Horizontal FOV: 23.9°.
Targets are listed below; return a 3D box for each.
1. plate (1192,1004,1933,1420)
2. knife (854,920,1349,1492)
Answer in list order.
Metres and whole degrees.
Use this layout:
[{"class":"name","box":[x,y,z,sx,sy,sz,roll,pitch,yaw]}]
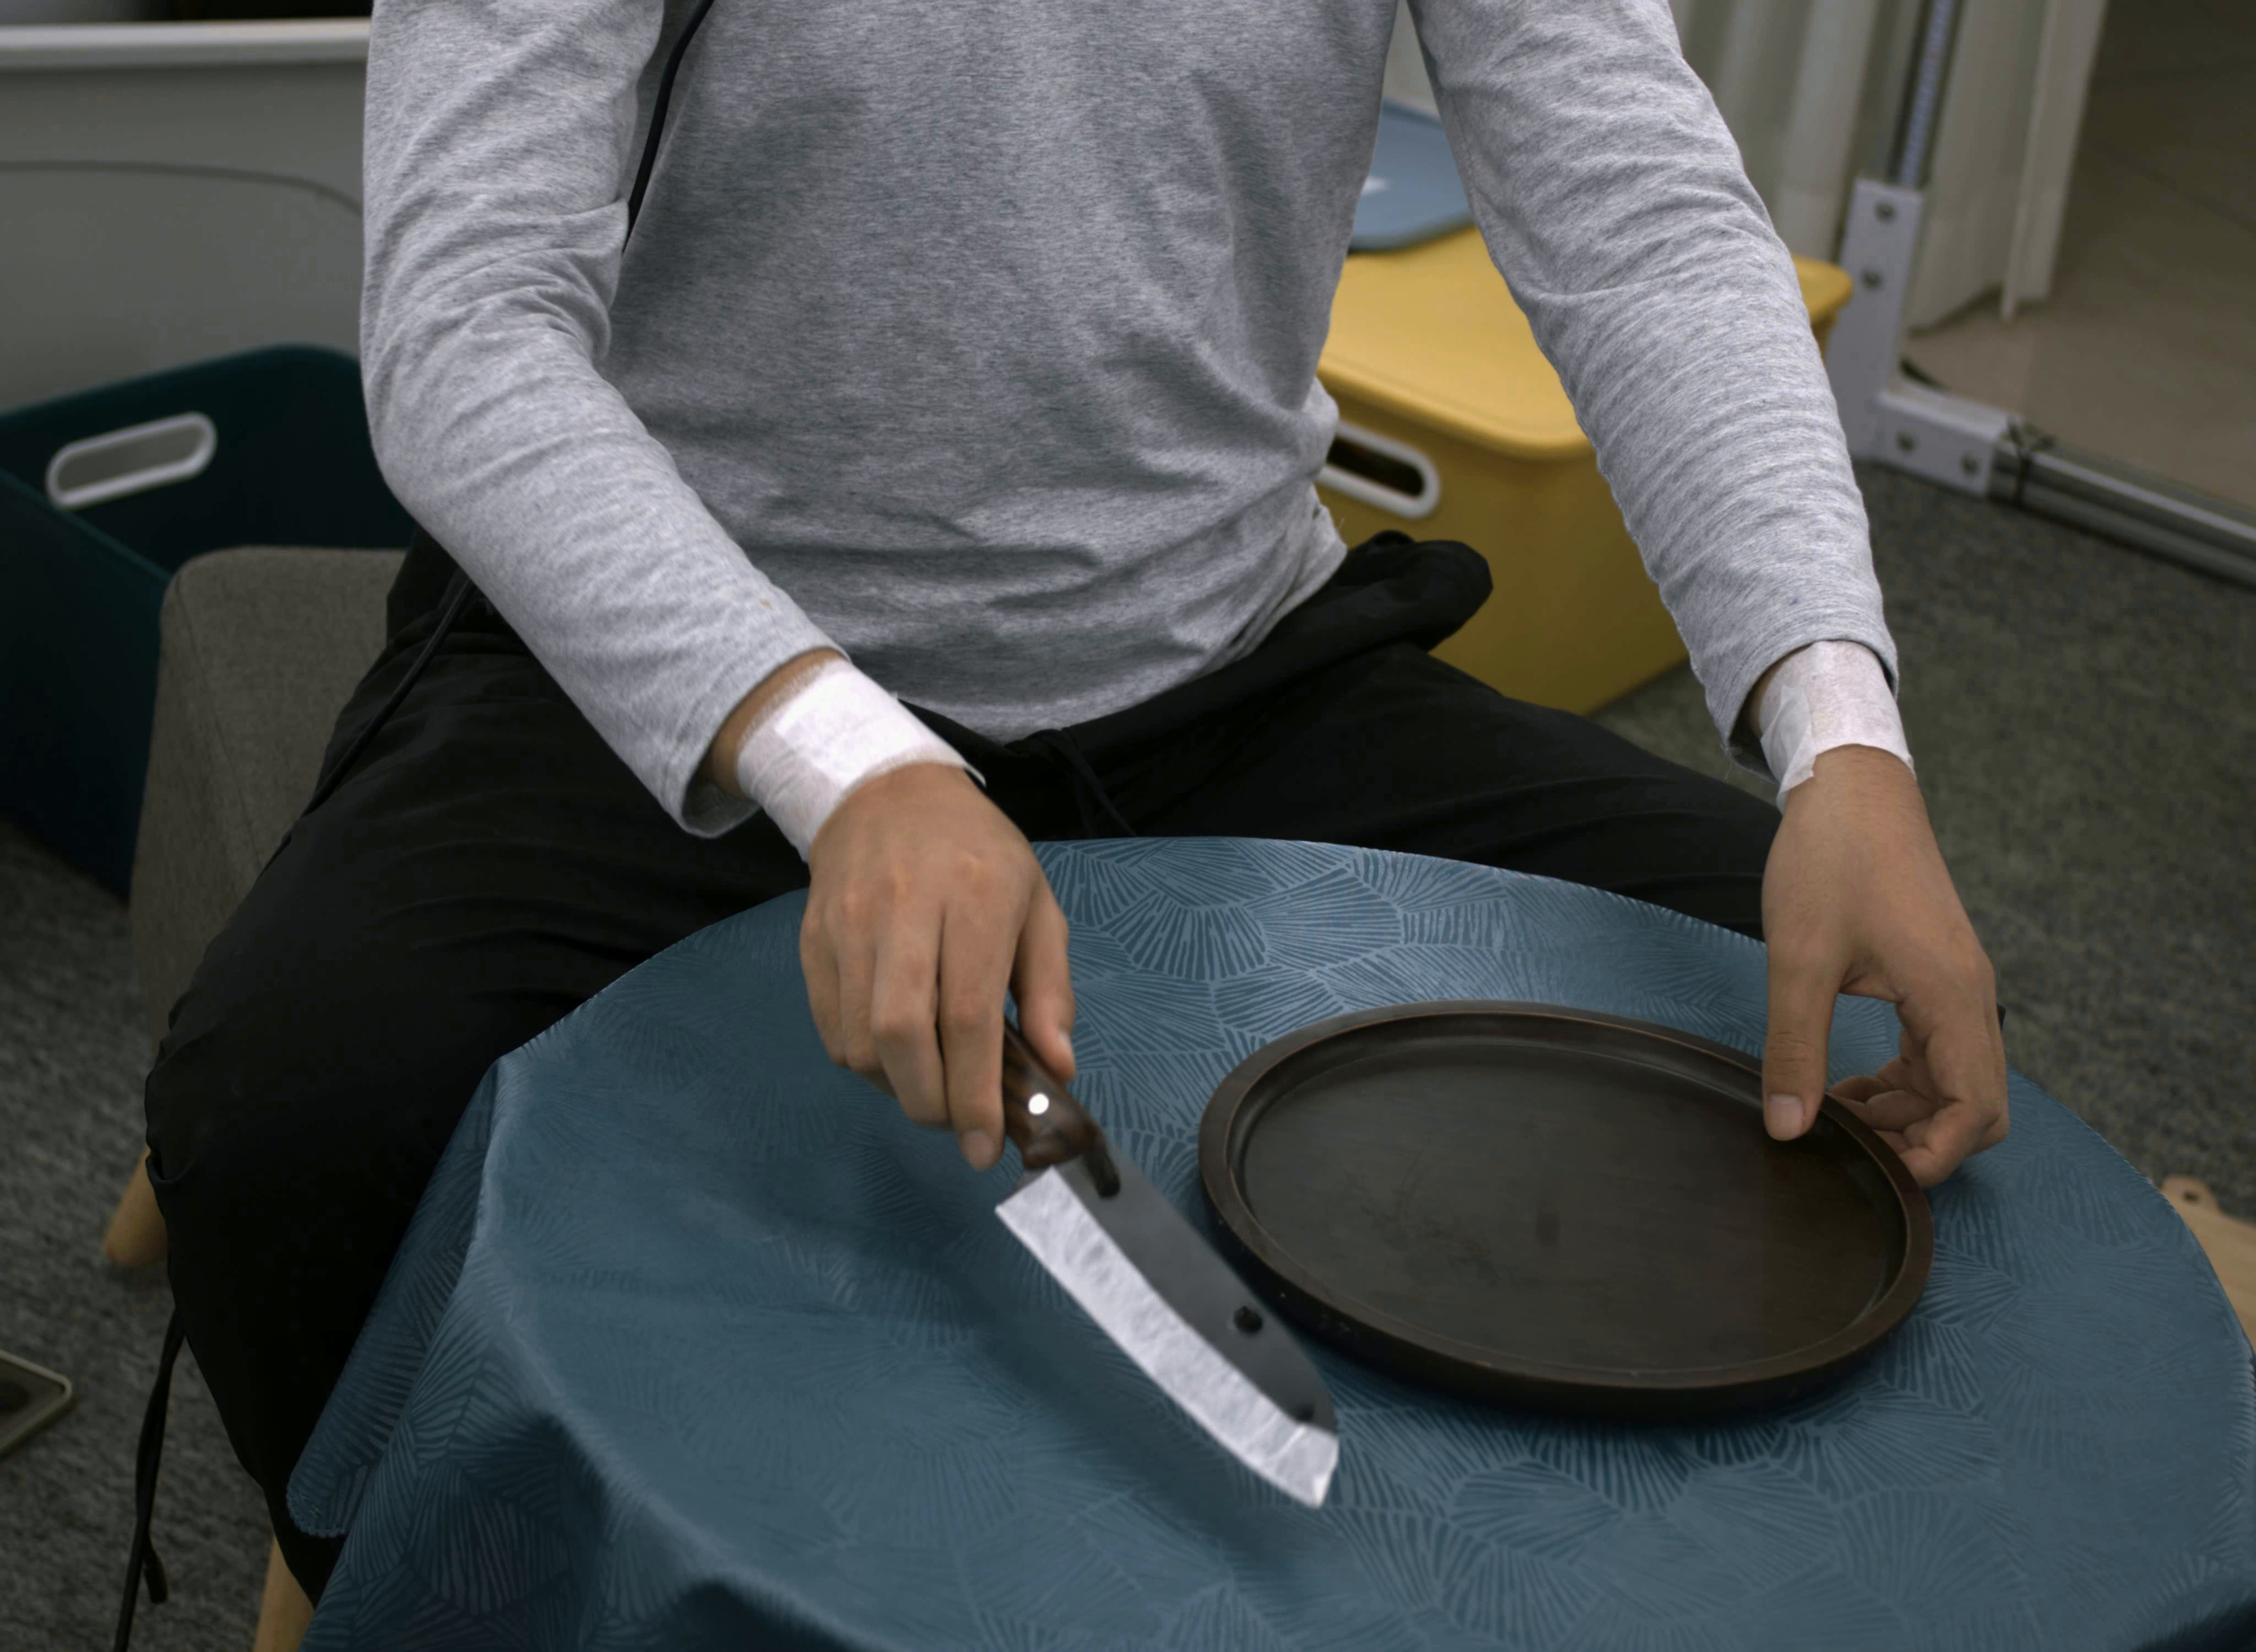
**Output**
[{"class":"plate","box":[0.146,0.128,1.802,0.254,0.029,0.256,4,26,-2]},{"class":"knife","box":[-0.011,0.118,1.697,0.050,0.020,0.292,-36,48,-7]}]
